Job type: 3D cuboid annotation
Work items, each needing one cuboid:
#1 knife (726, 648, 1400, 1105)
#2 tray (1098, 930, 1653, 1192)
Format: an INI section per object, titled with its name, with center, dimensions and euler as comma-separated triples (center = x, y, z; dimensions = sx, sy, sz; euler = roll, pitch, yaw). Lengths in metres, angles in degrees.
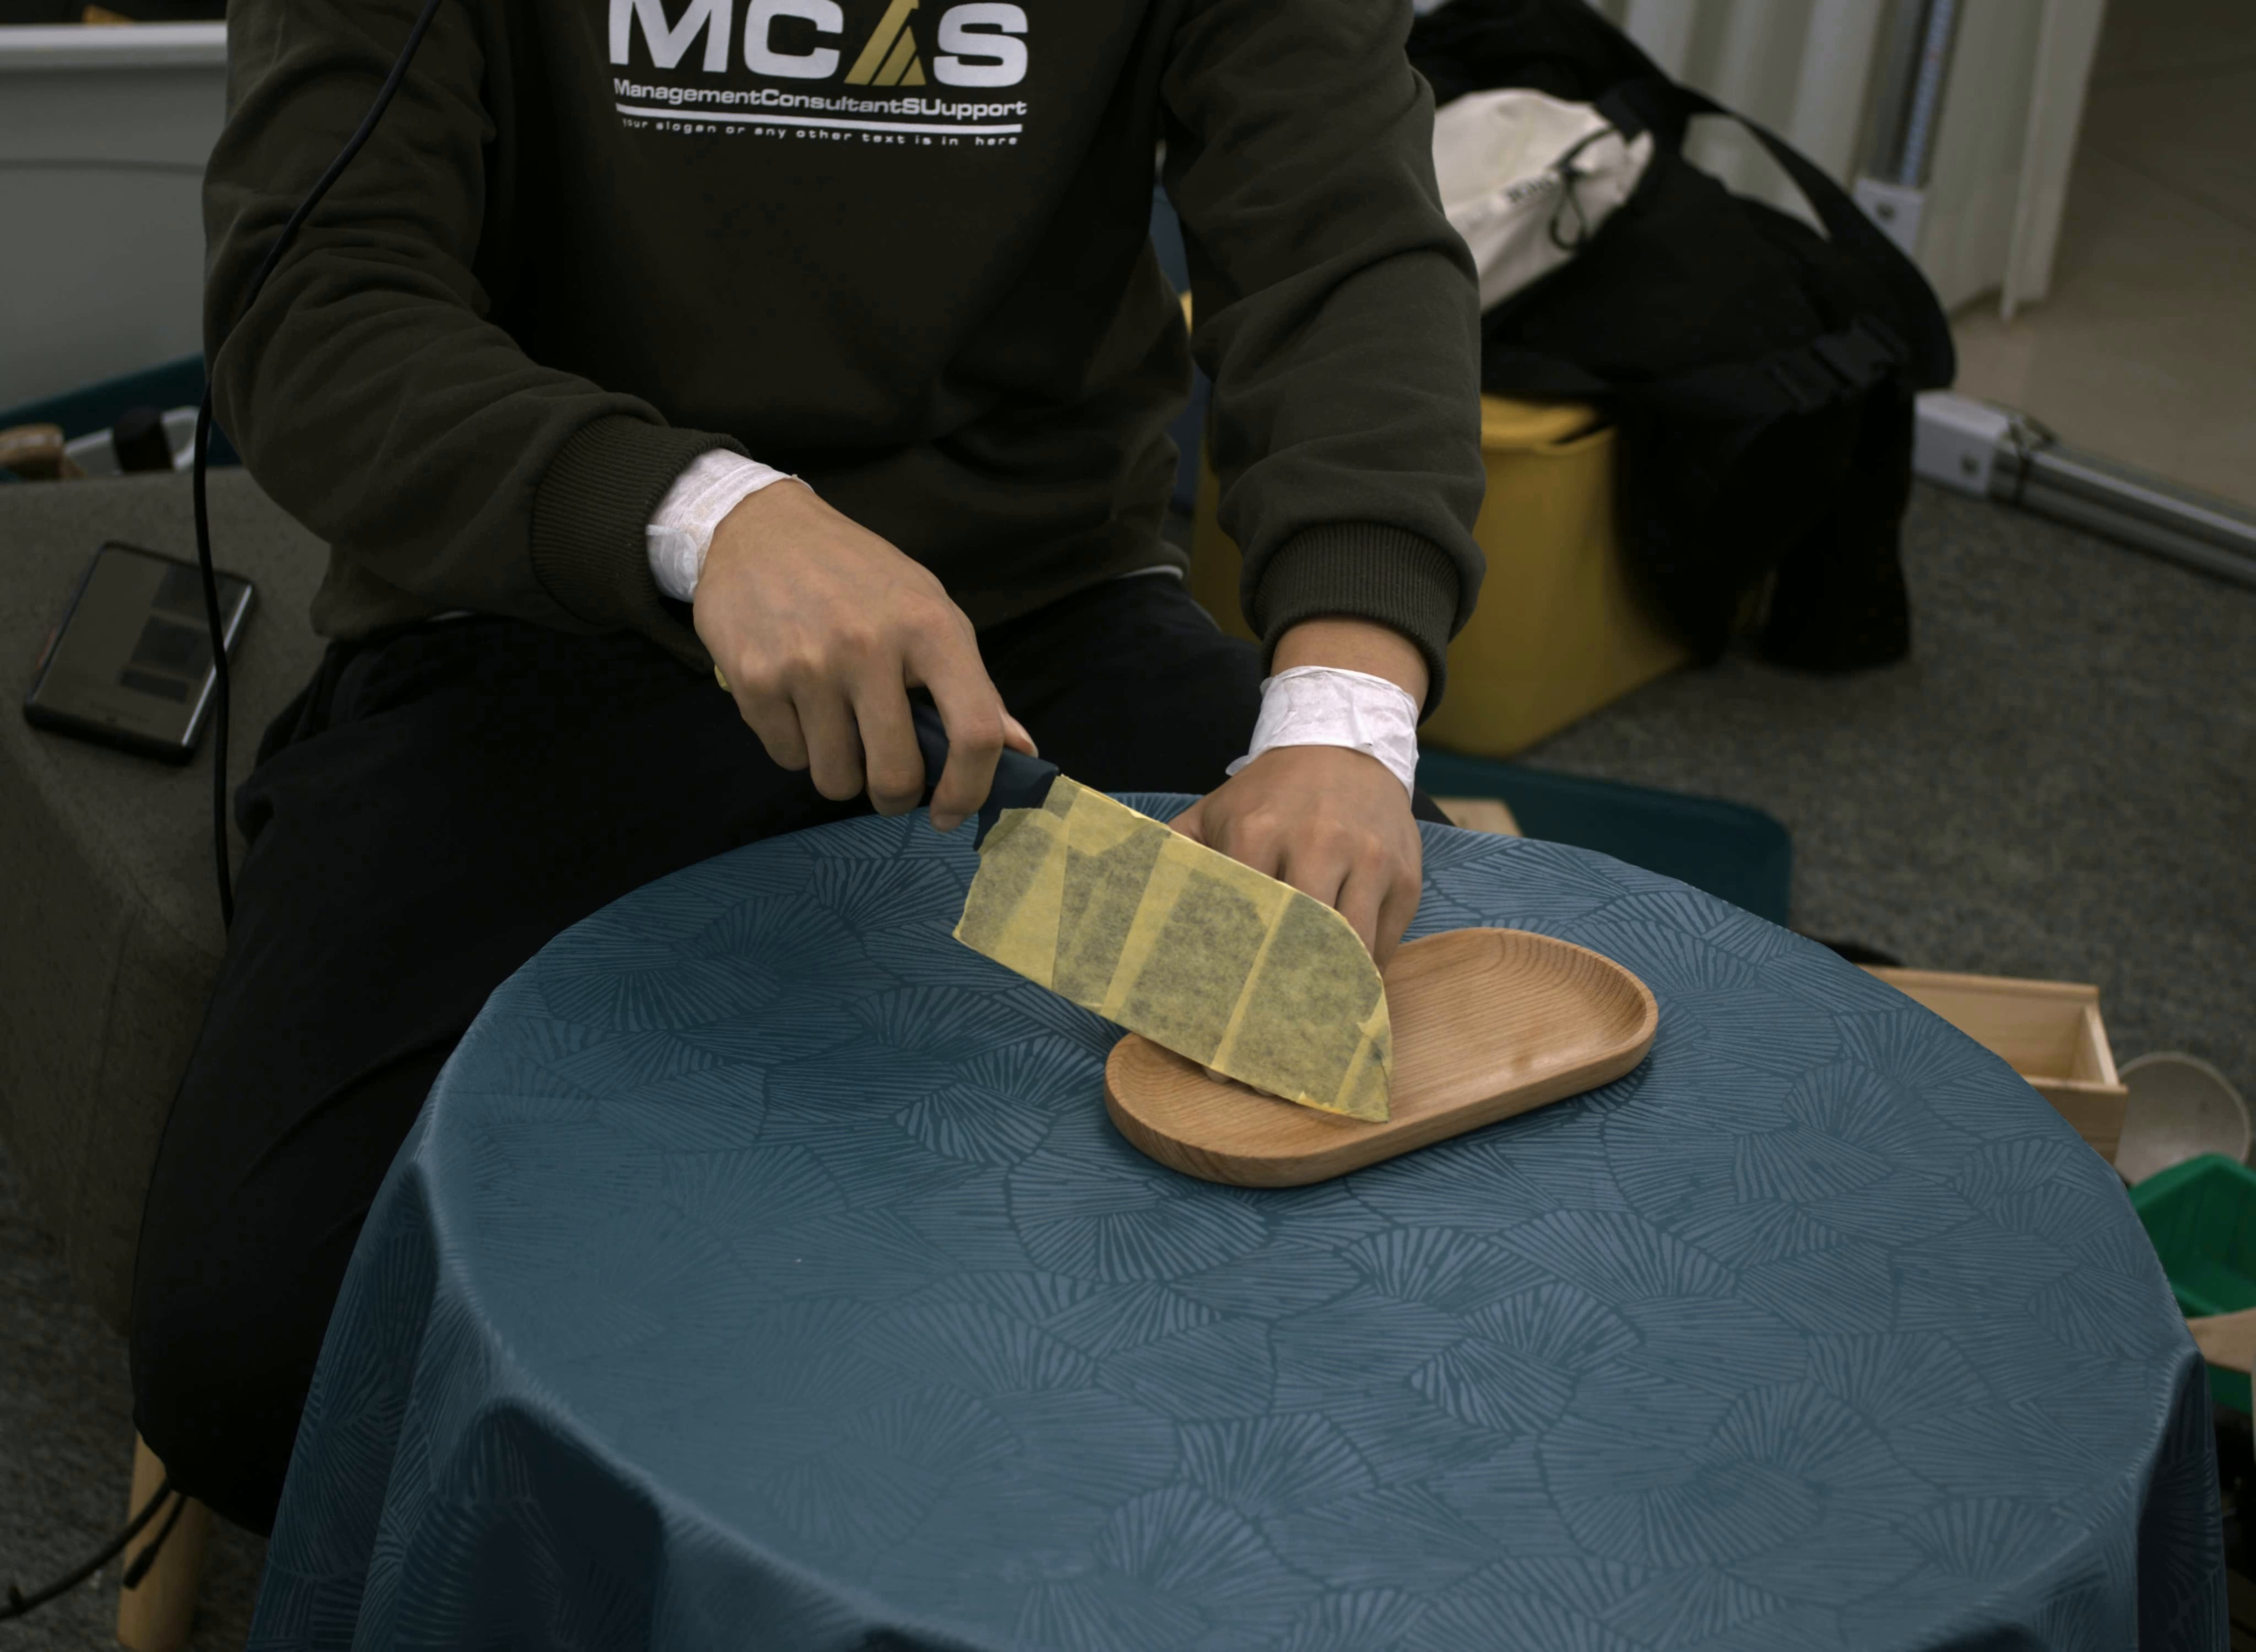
[knife]
center = -0.027, 0.017, 1.879
dimensions = 0.291, 0.081, 0.027
euler = 29, 14, 19
[tray]
center = 0.089, 0.083, 1.889
dimensions = 0.230, 0.020, 0.102
euler = -17, 34, -36
